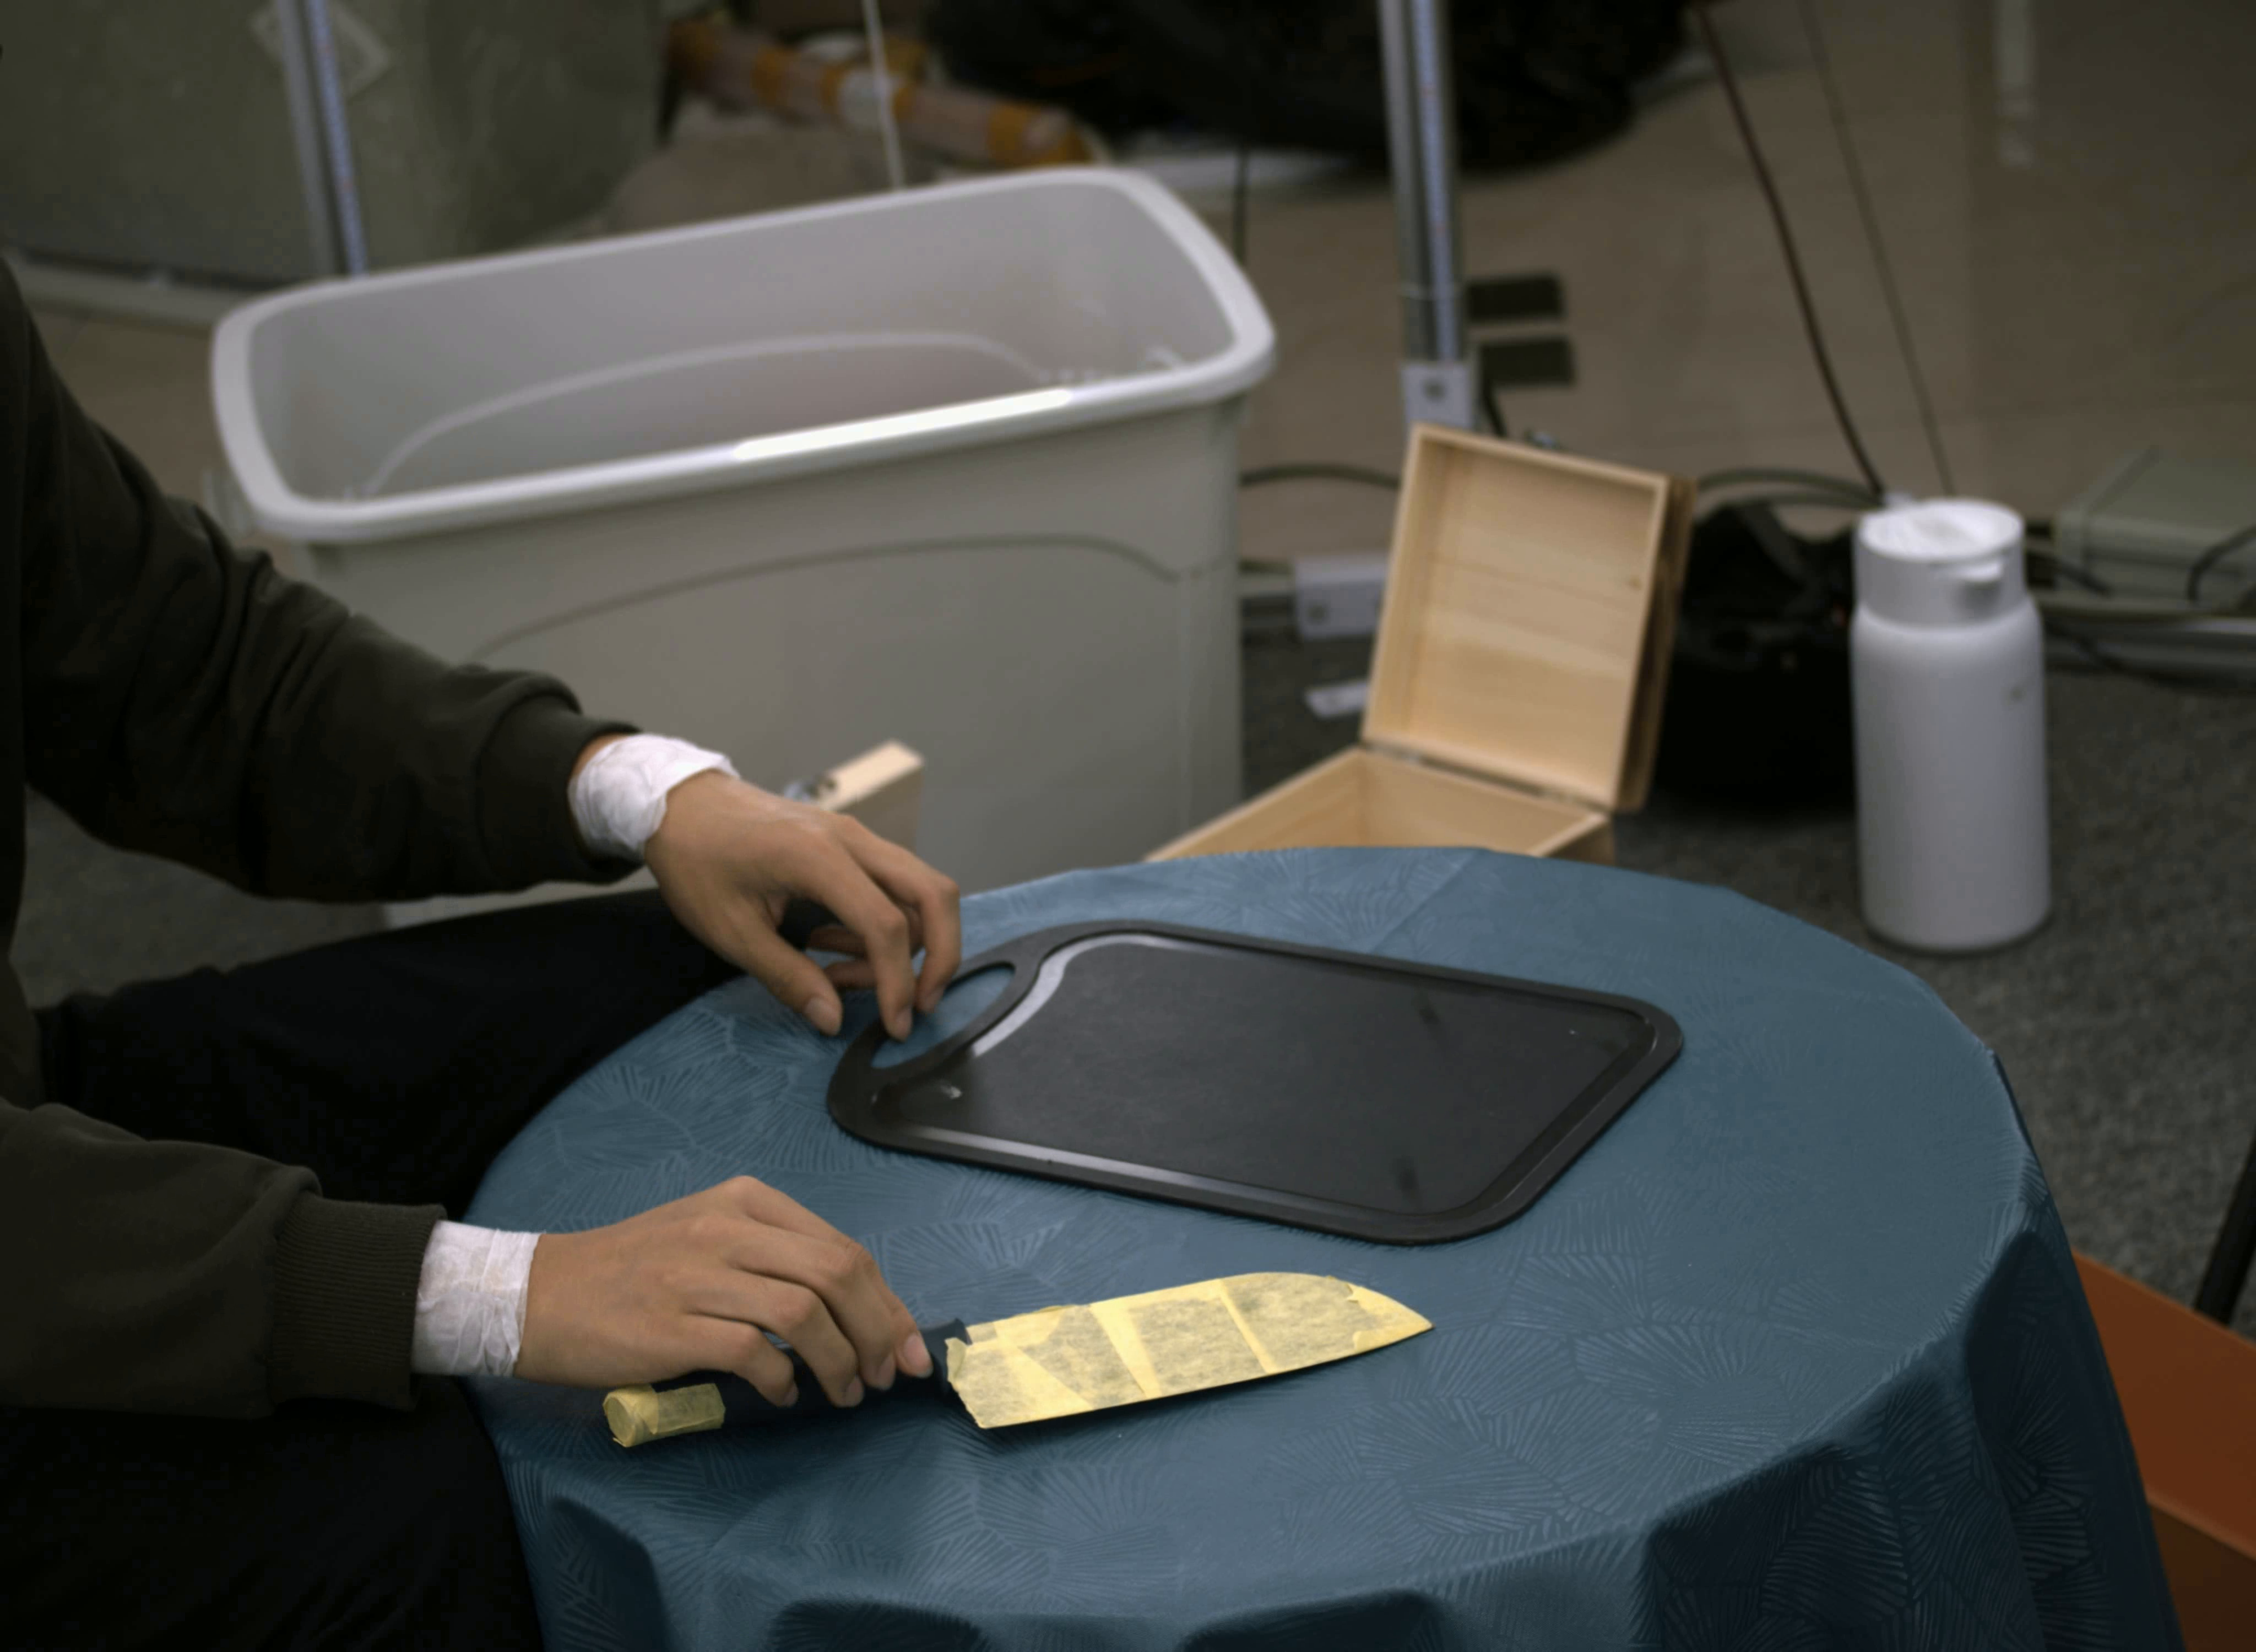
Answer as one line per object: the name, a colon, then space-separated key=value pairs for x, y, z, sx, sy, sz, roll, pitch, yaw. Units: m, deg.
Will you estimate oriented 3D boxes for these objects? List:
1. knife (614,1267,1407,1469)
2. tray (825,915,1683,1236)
knife: x=-0.039 y=0.195 z=2.024 sx=0.289 sy=0.027 sz=0.080 roll=-10 pitch=23 yaw=-10
tray: x=0.041 y=0.093 z=2.231 sx=0.324 sy=0.010 sz=0.208 roll=9 pitch=29 yaw=30
